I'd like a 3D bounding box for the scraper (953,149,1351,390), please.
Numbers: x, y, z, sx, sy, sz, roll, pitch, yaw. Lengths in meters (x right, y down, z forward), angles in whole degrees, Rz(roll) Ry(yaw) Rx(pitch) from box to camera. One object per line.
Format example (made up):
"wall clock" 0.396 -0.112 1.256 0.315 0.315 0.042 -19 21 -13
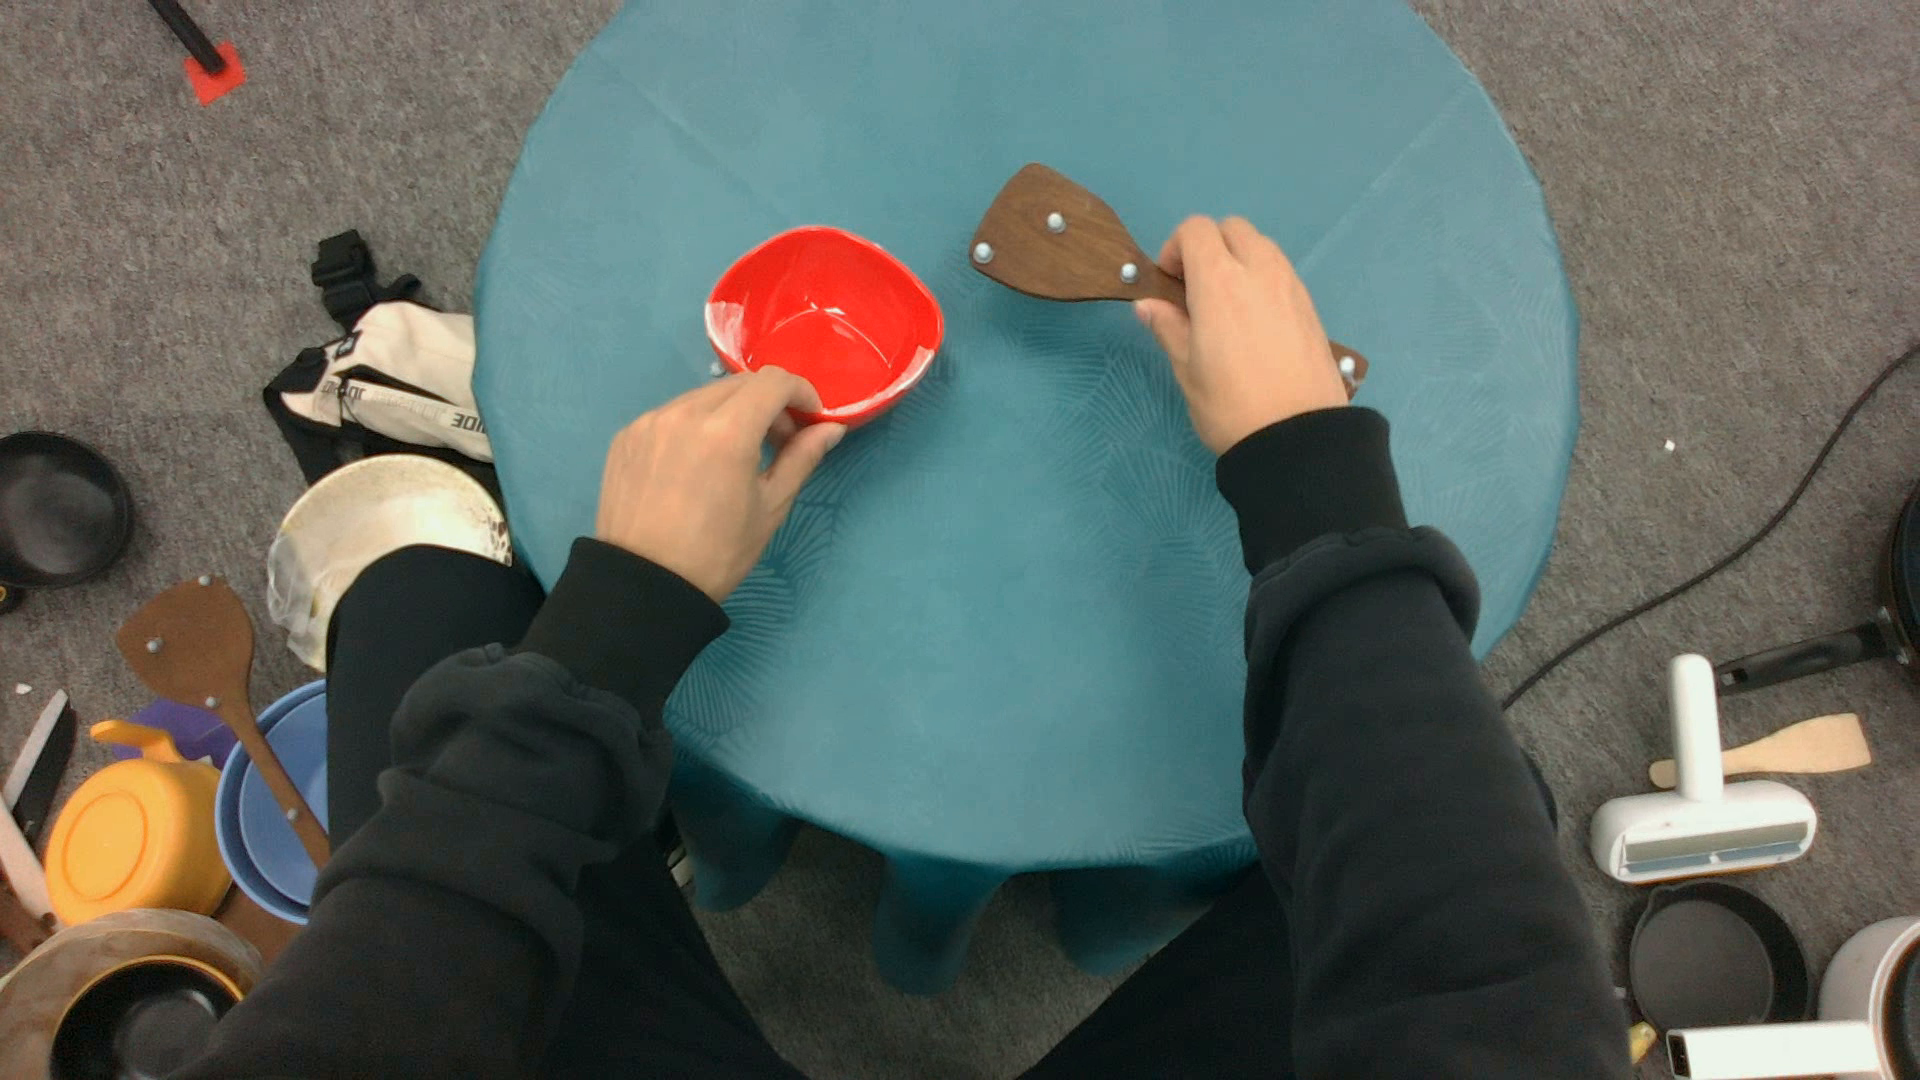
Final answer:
"scraper" 0.098 -0.131 0.698 0.211 0.011 0.076 29 72 14

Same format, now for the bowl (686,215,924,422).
"bowl" -0.080 -0.105 0.705 0.119 0.051 0.119 6 59 -10
